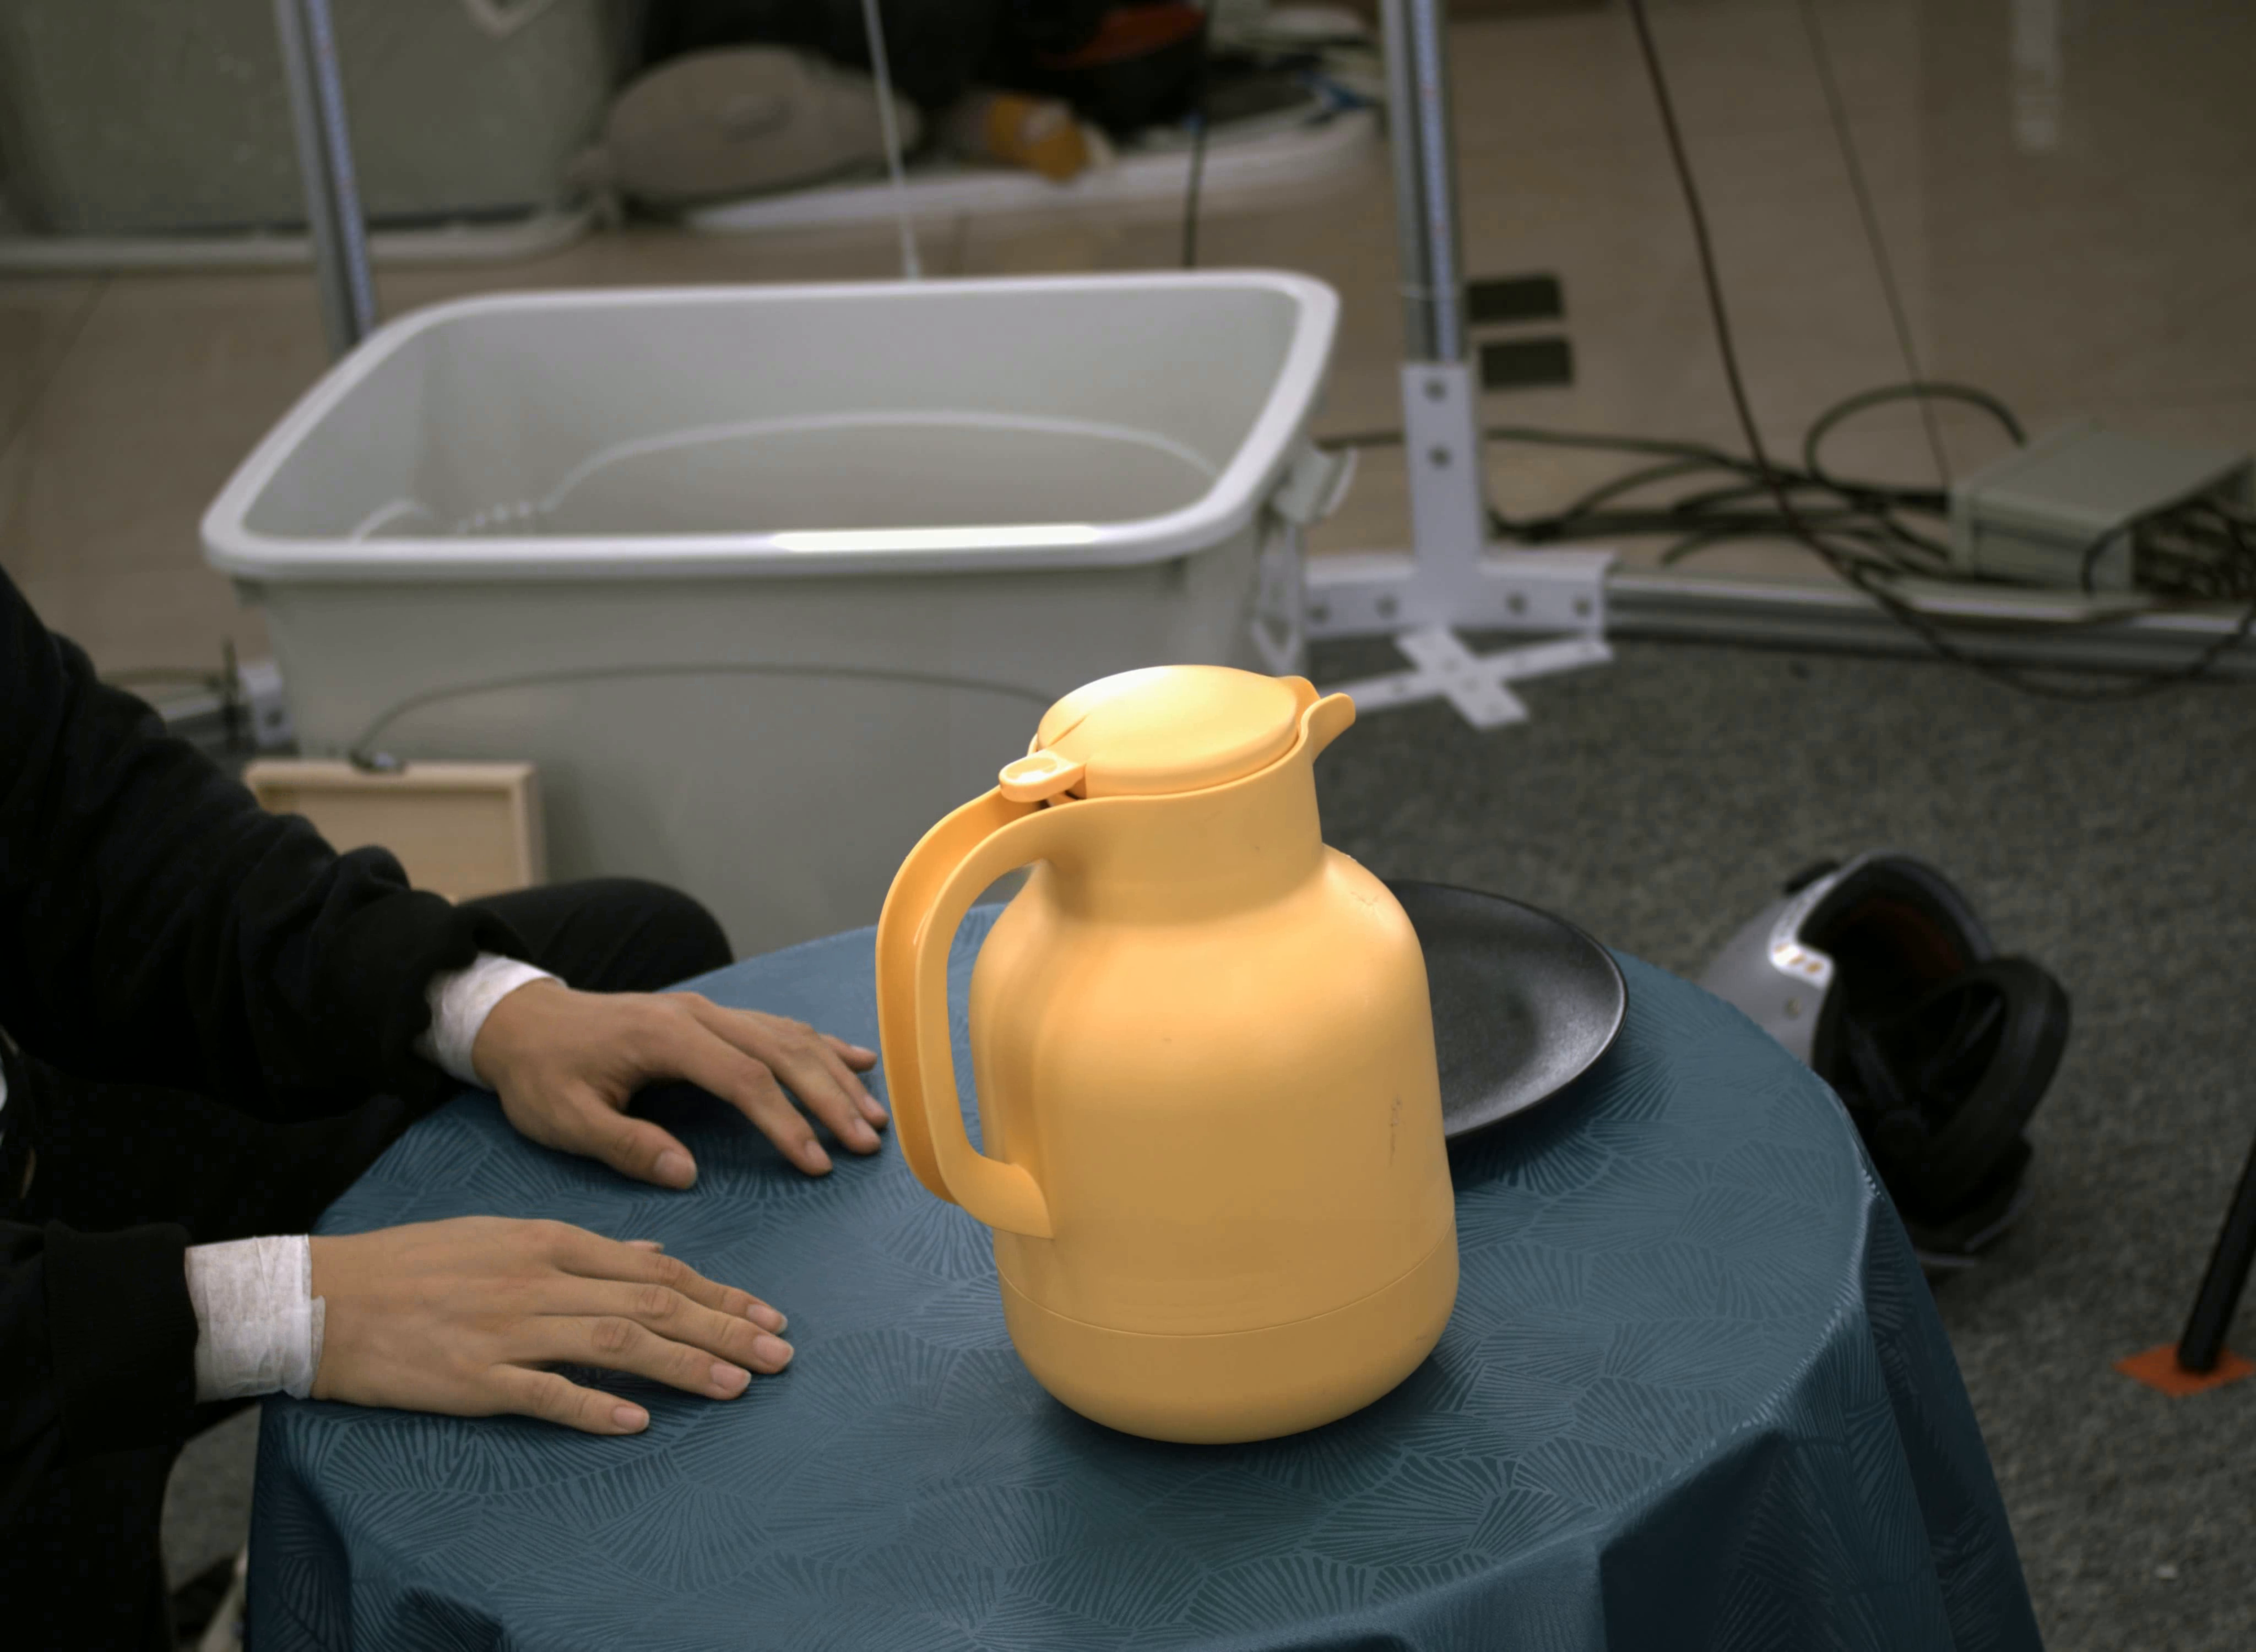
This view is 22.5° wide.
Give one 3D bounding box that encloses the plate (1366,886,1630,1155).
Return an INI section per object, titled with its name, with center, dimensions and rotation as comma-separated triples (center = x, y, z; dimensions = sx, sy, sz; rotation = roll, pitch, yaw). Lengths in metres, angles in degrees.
[plate]
center = 0.076, 0.084, 2.221
dimensions = 0.244, 0.024, 0.241
rotation = -5, 25, 2

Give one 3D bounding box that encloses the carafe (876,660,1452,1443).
[carafe]
center = 0.008, 0.079, 1.960
dimensions = 0.201, 0.264, 0.162
rotation = -19, 26, -28
